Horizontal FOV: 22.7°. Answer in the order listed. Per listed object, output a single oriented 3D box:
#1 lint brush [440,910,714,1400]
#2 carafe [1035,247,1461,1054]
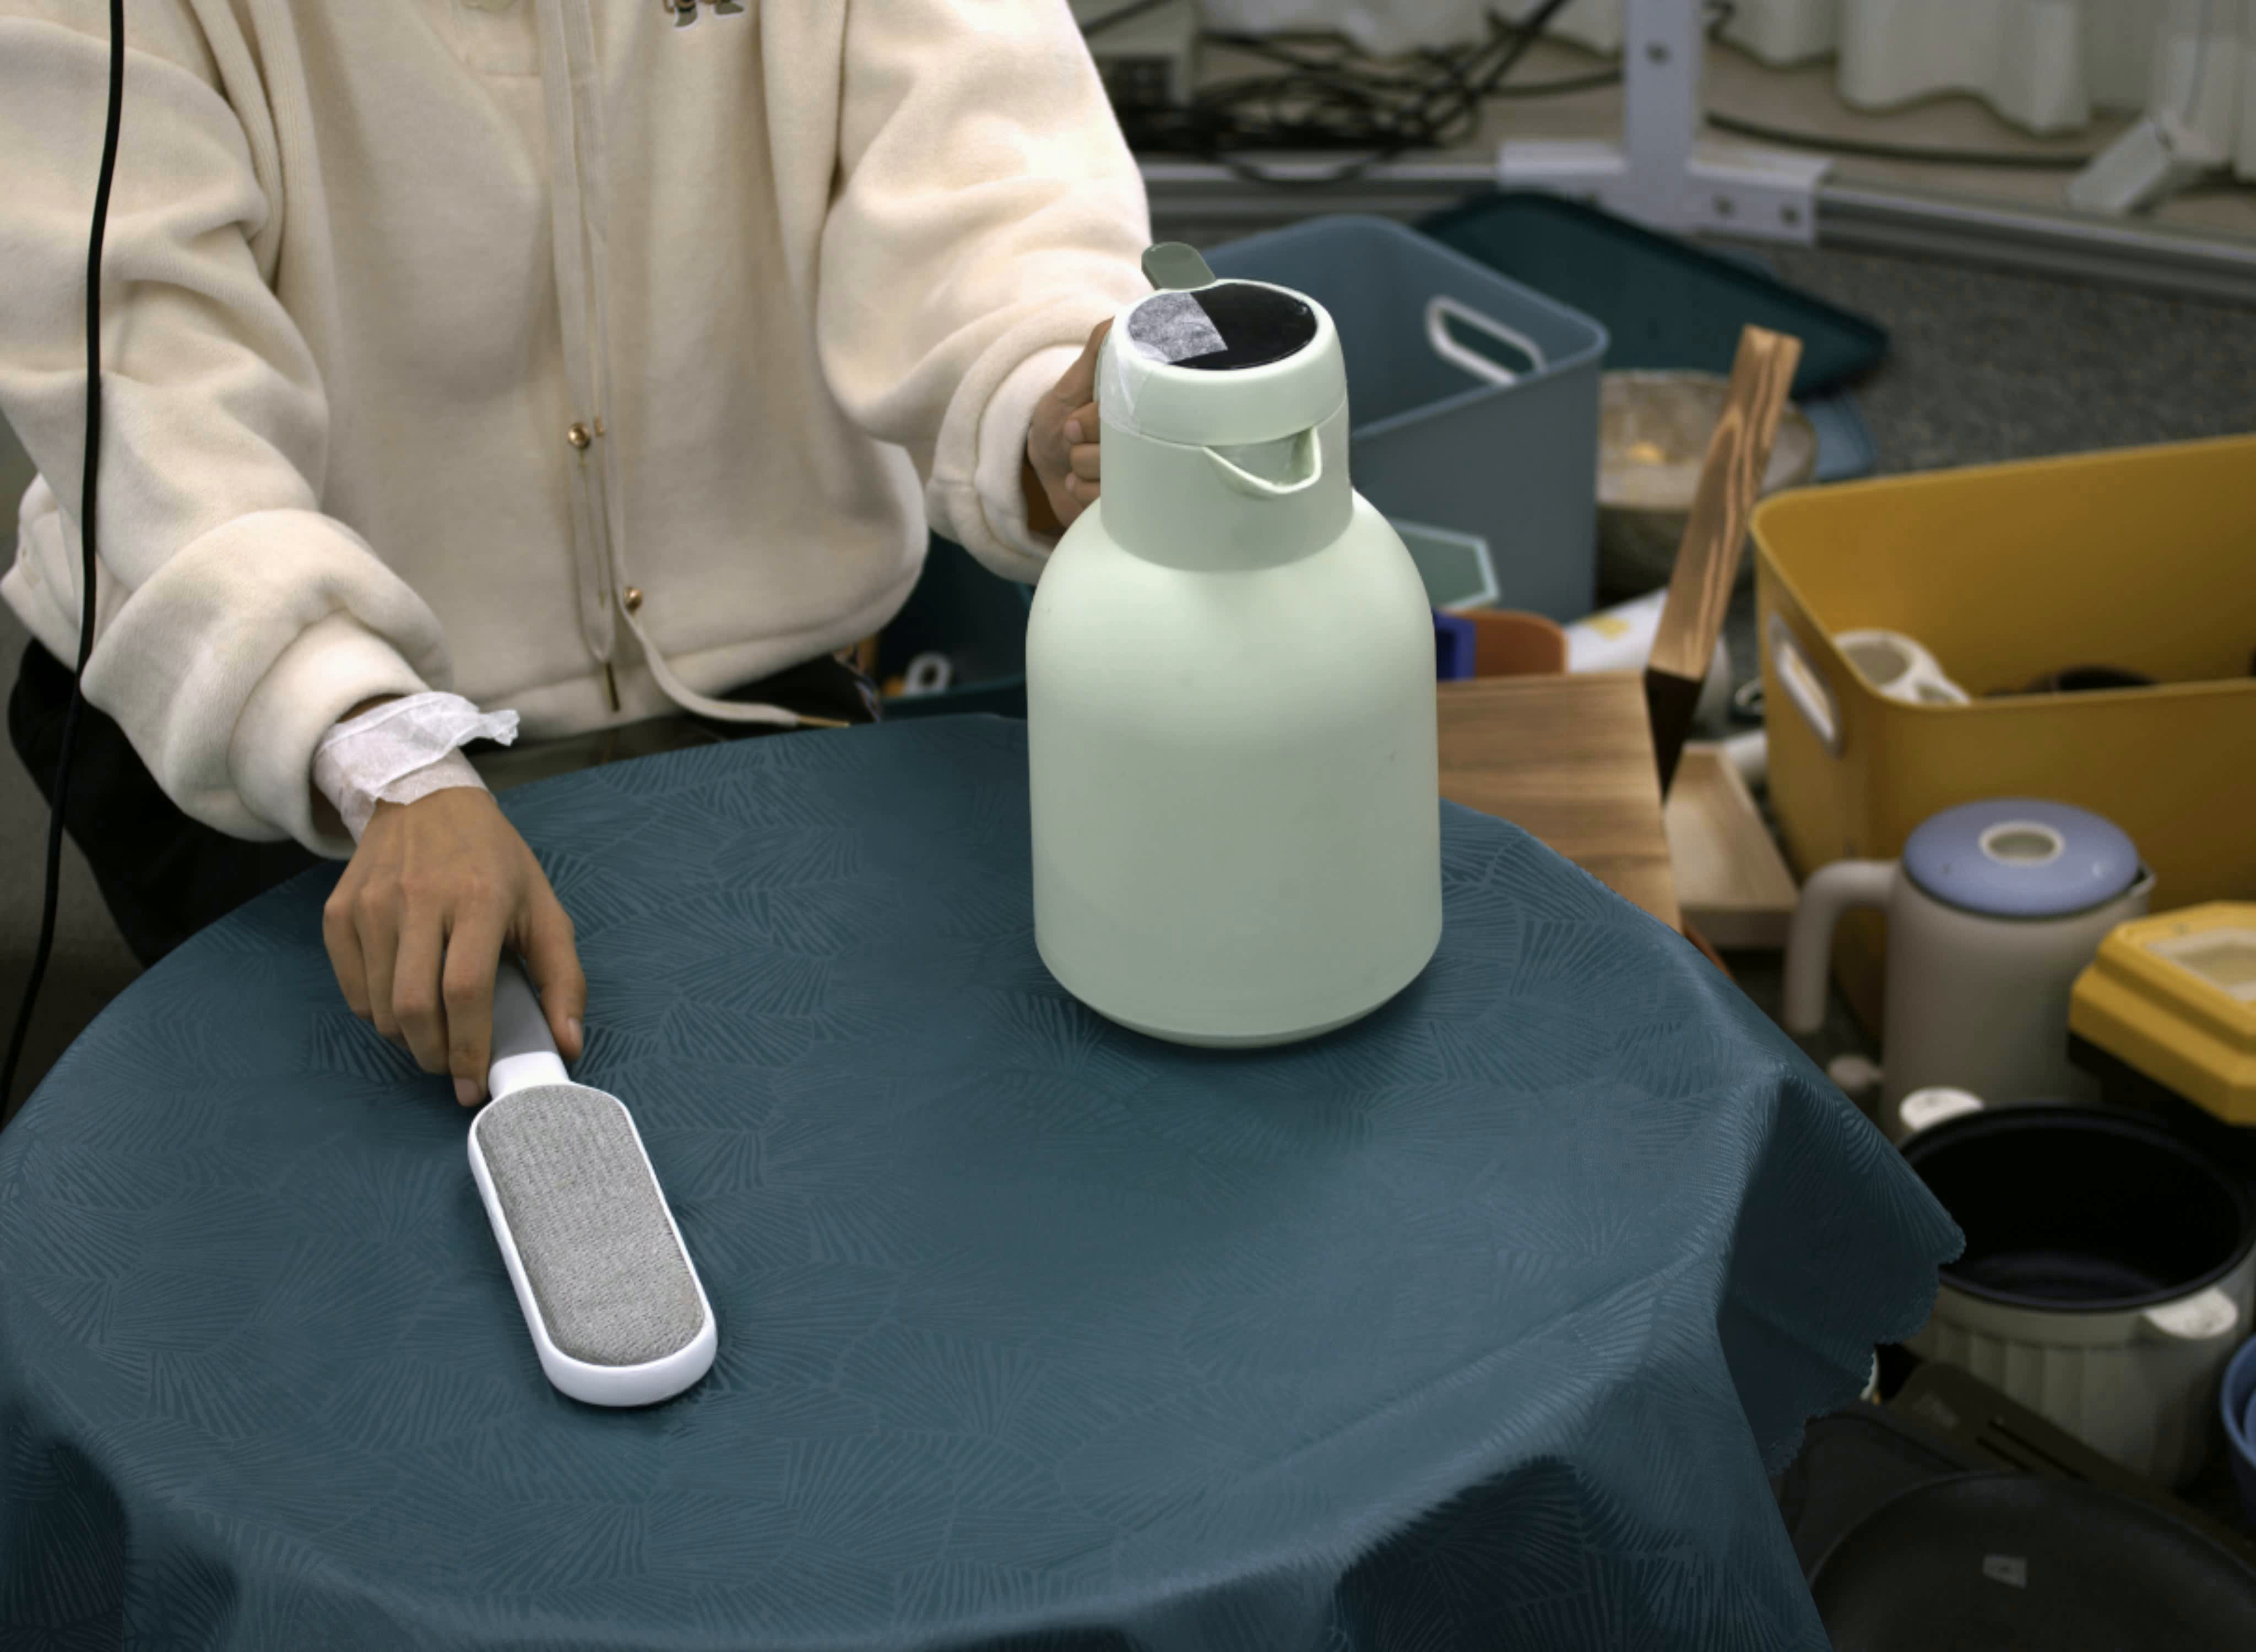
[{"bbox_3d":[-0.192,0.105,1.882,0.060,0.020,0.312,-11,29,-12],"label":"lint brush"},{"bbox_3d":[0.034,-0.066,1.944,0.144,0.254,0.188,-12,28,-13],"label":"carafe"}]
